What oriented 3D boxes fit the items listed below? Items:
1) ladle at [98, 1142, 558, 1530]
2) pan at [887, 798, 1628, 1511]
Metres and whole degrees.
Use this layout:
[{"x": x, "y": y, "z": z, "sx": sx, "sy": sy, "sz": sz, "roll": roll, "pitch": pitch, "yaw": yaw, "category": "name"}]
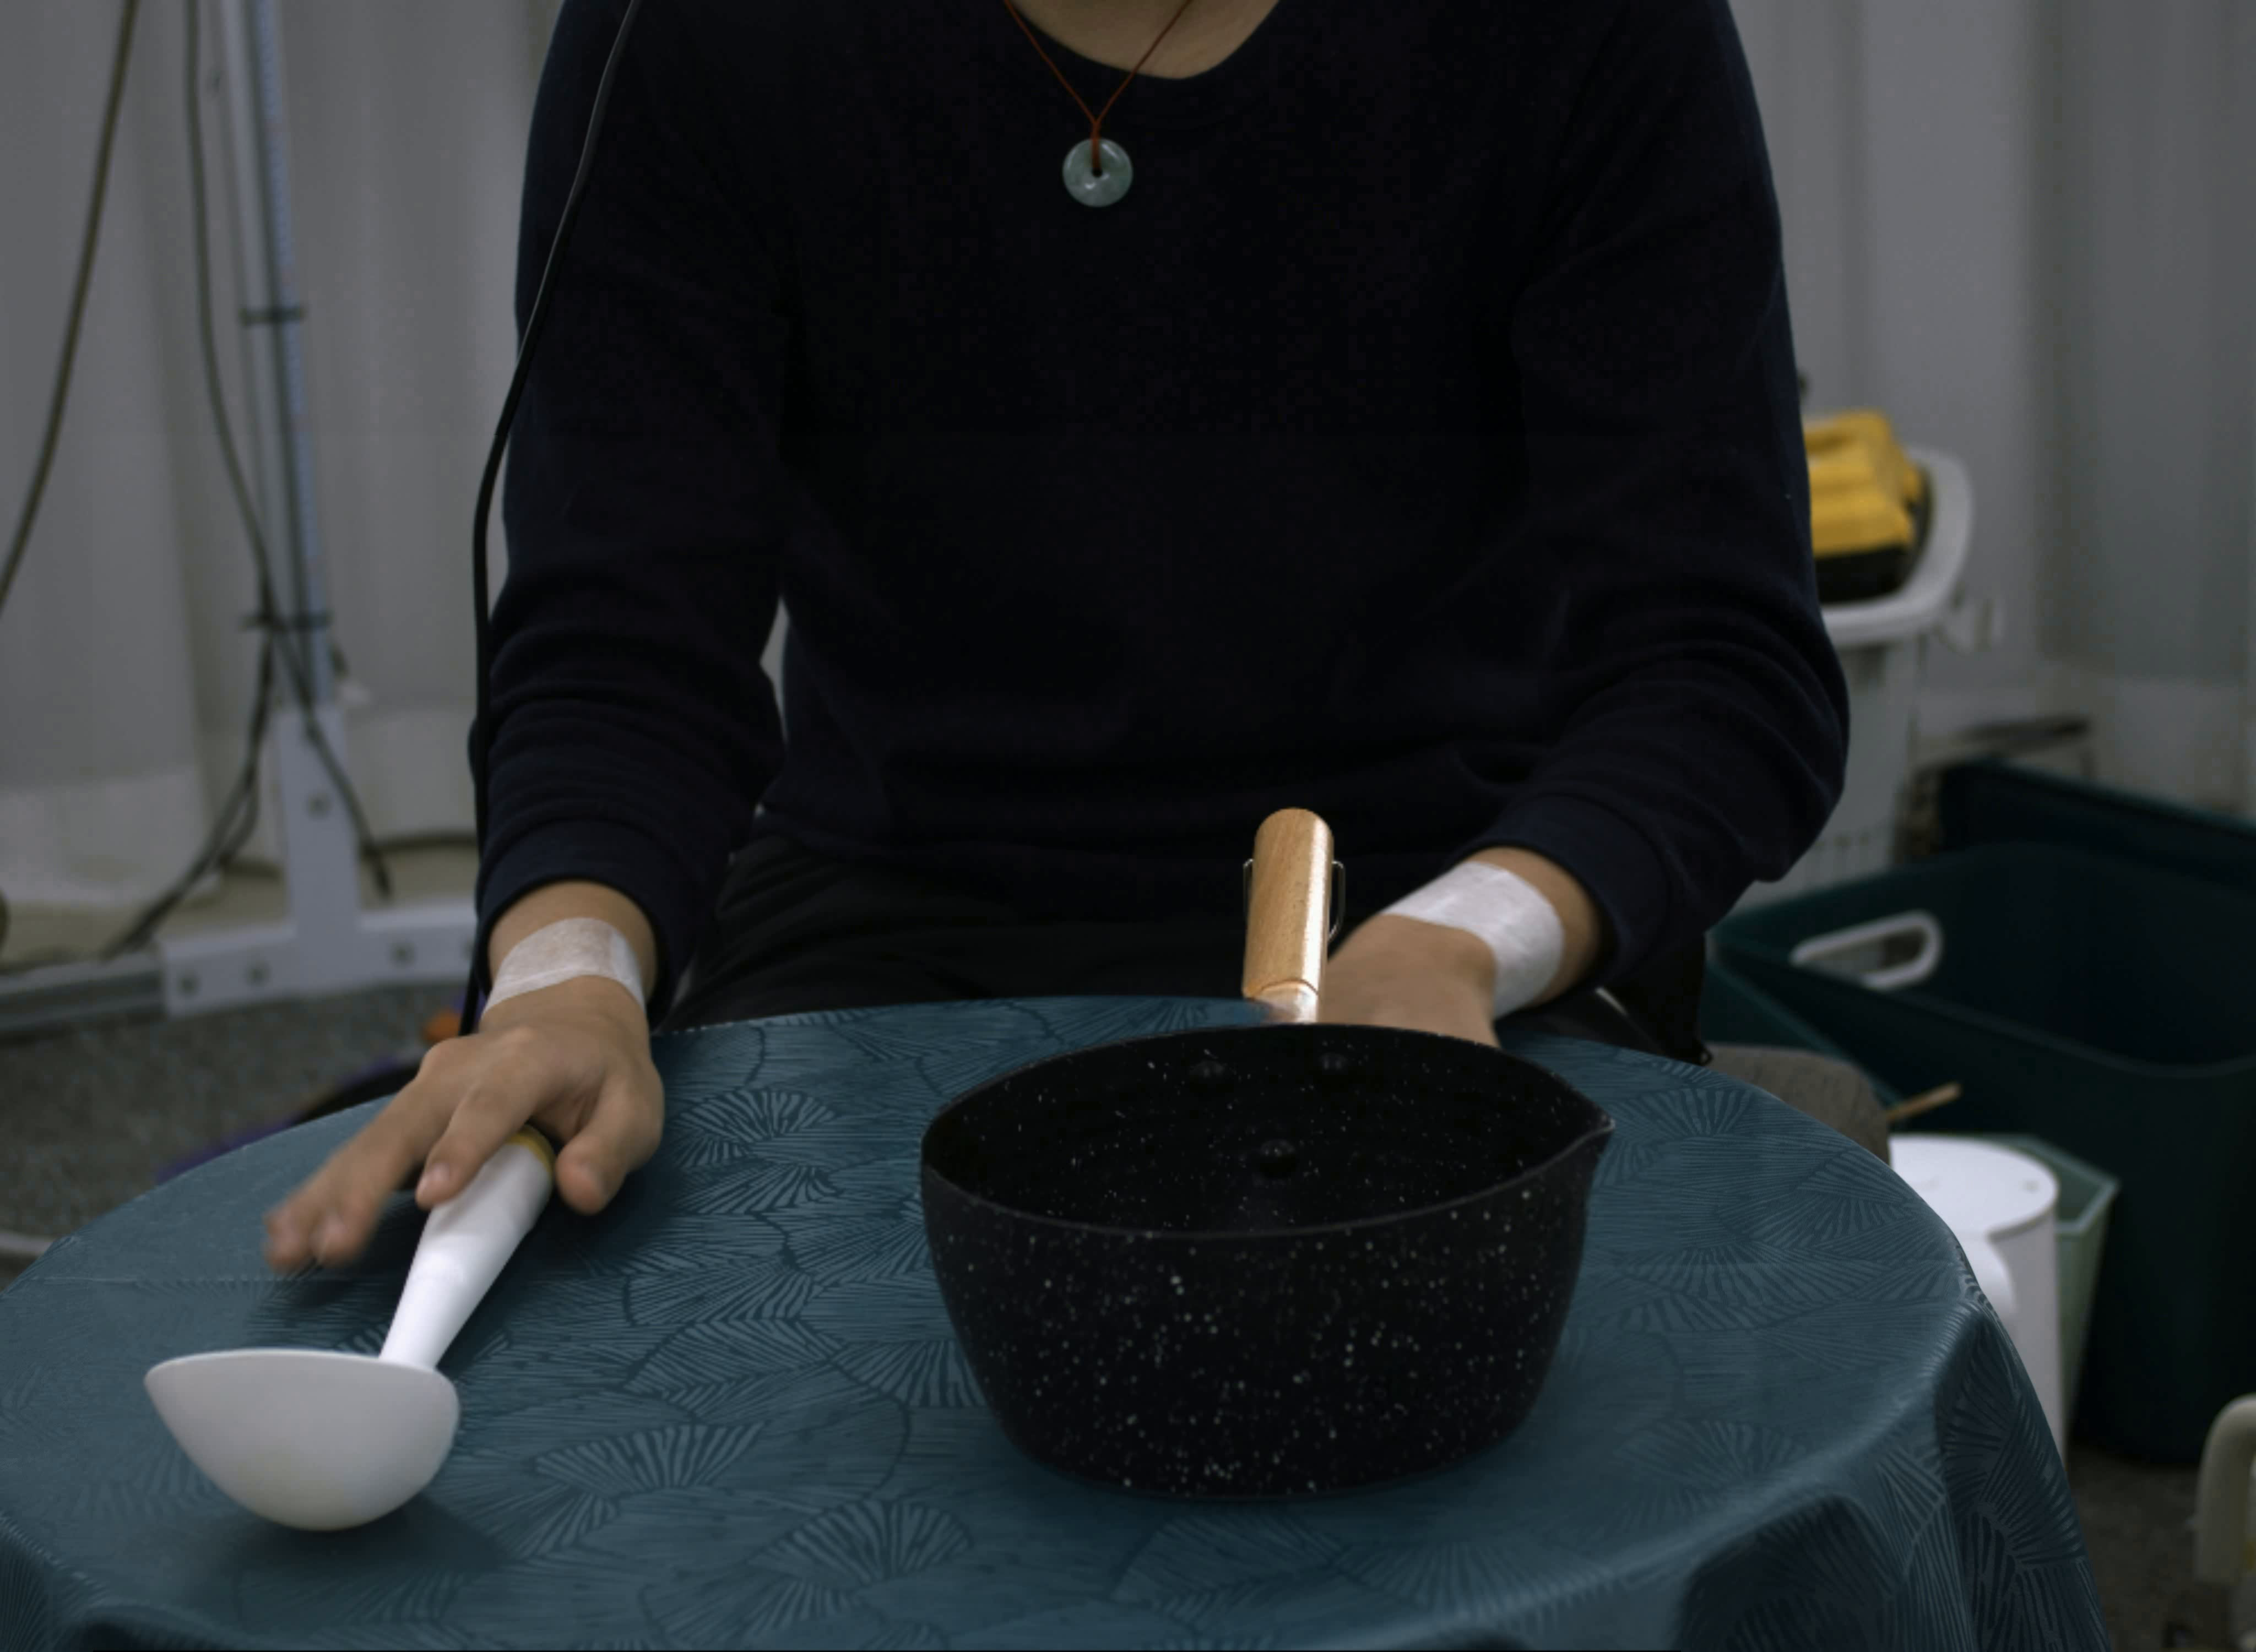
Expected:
[{"x": -0.214, "y": 0.132, "z": 1.574, "sx": 0.090, "sy": 0.070, "sz": 0.294, "roll": -8, "pitch": 13, "yaw": 9, "category": "ladle"}, {"x": 0.041, "y": 0.090, "z": 1.592, "sx": 0.207, "sy": 0.108, "sz": 0.345, "roll": -3, "pitch": 16, "yaw": 5, "category": "pan"}]
